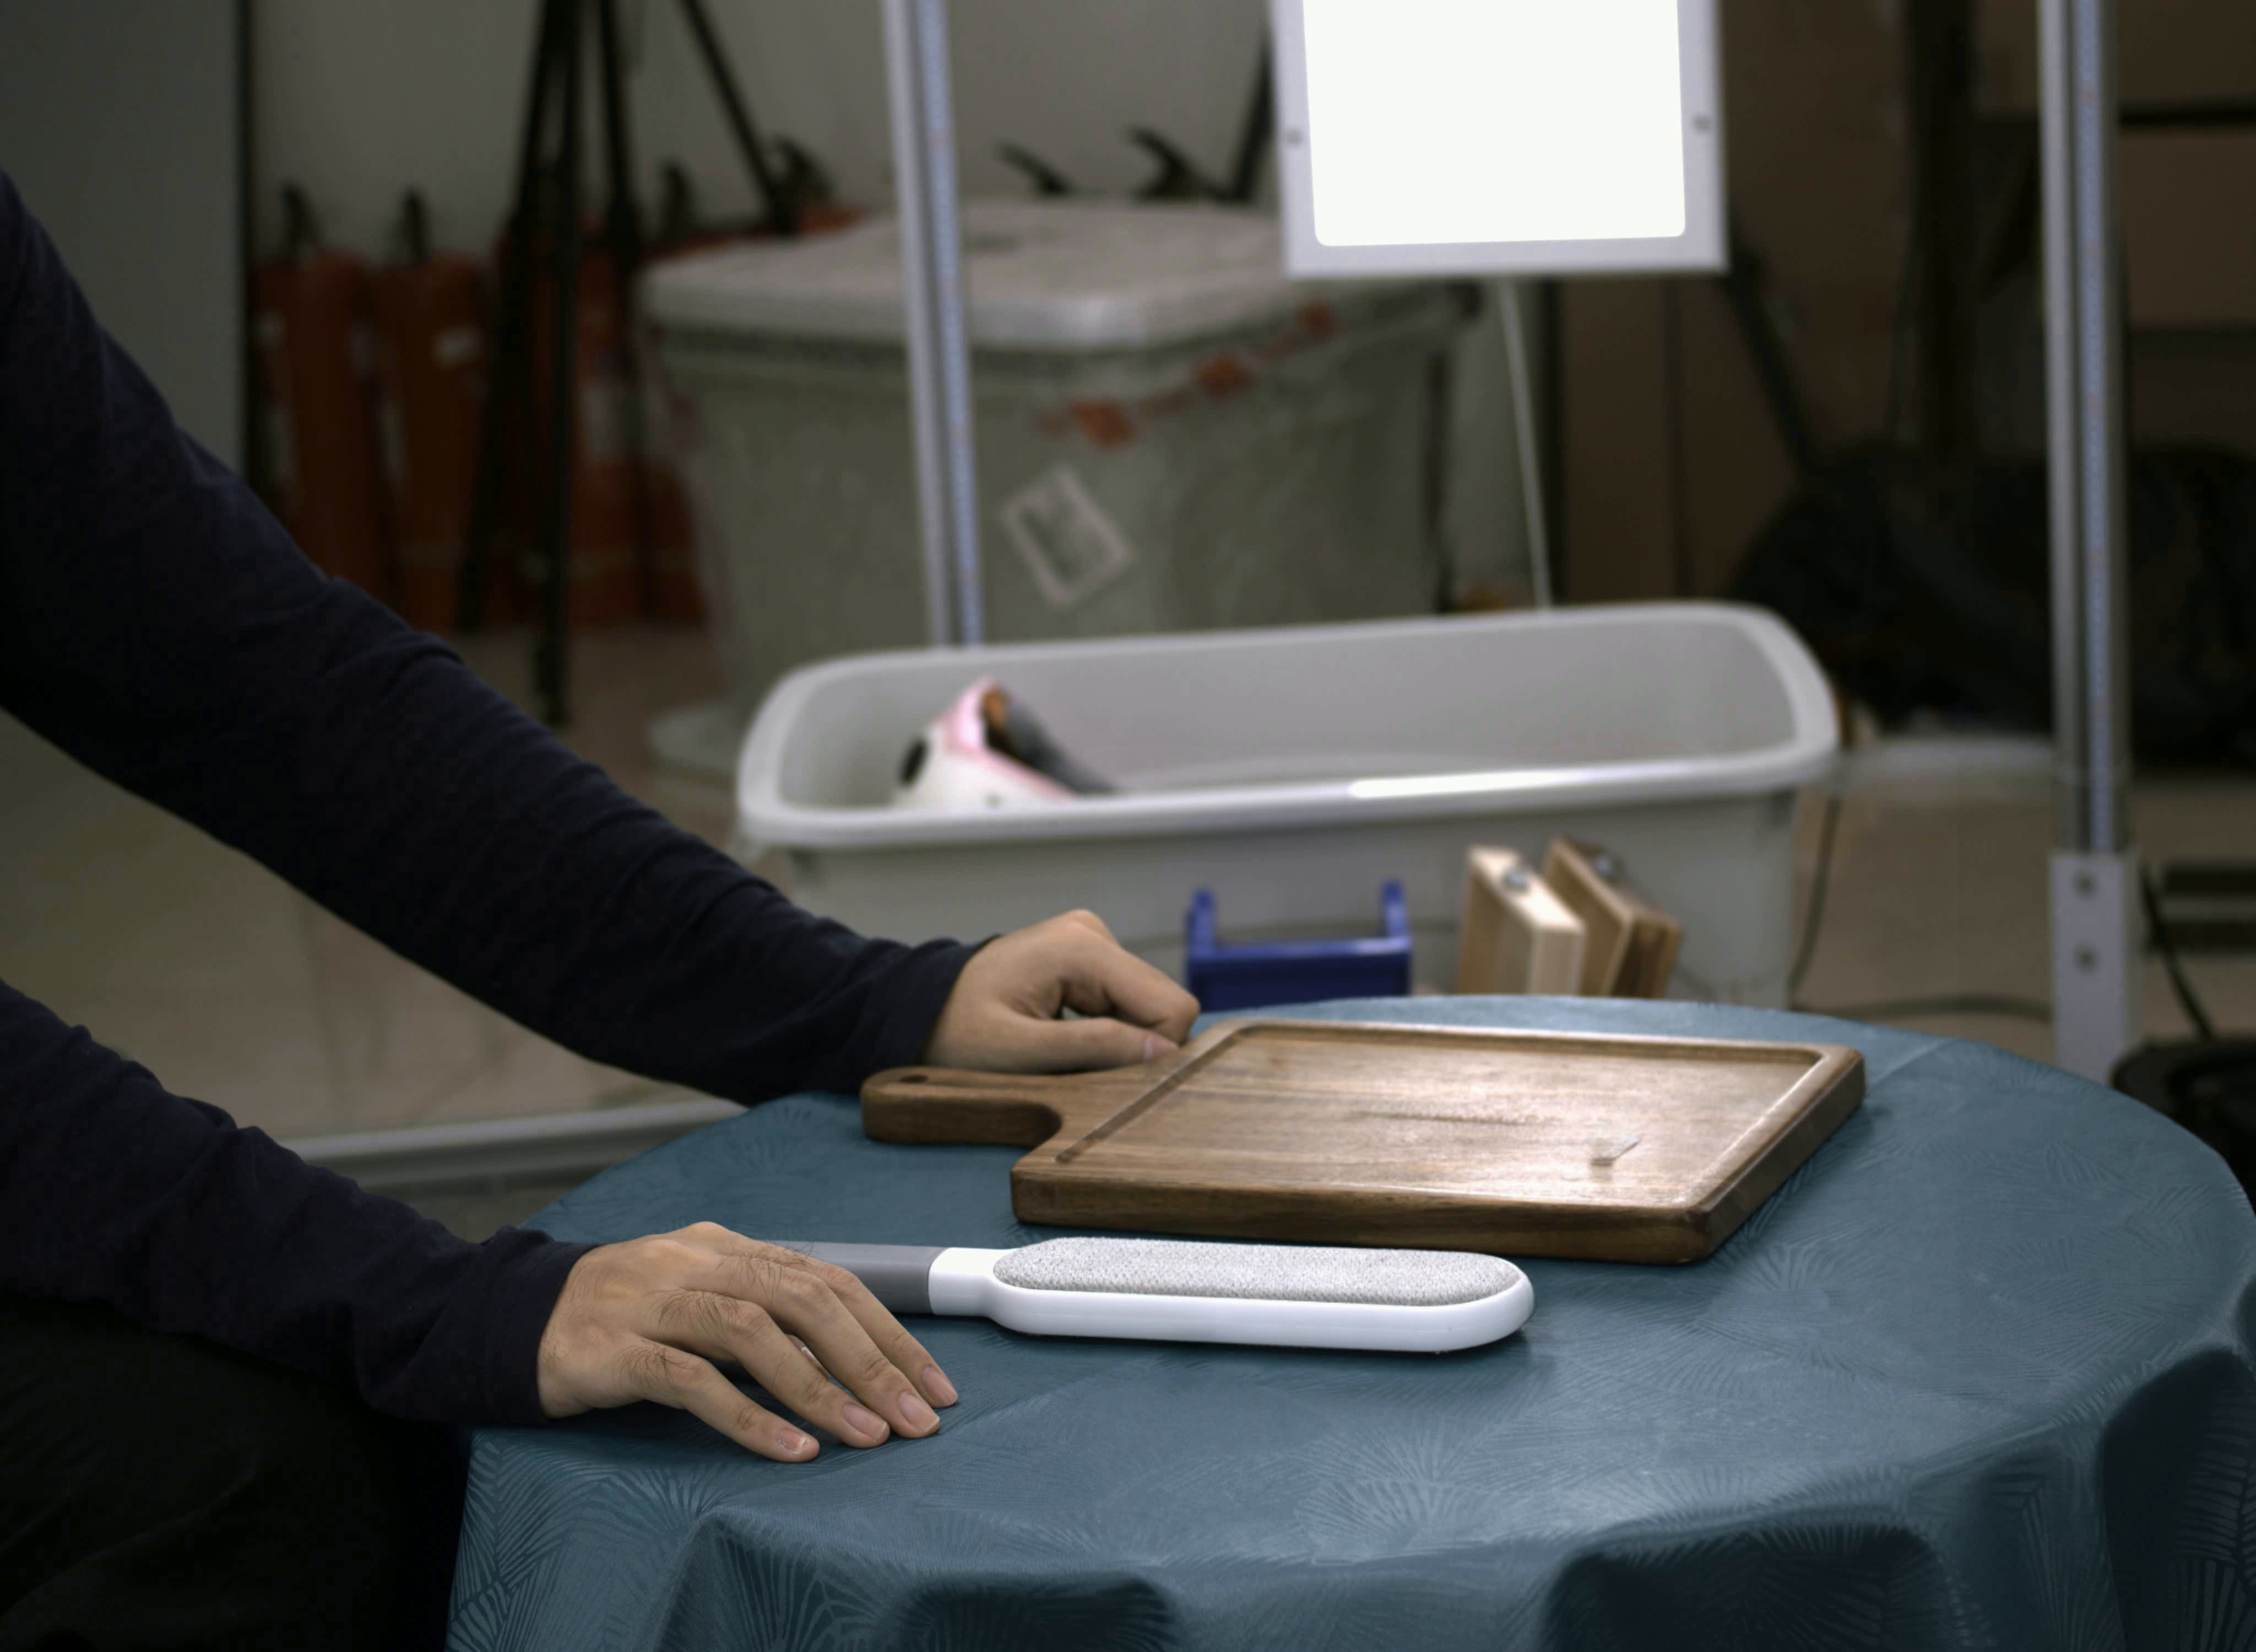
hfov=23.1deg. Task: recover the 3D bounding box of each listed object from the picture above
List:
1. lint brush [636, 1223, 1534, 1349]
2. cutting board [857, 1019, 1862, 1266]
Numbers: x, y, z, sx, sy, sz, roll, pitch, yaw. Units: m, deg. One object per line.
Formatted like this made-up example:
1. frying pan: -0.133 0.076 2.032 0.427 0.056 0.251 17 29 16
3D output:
1. lint brush: -0.019 0.145 1.777 0.313 0.021 0.059 1 20 24
2. cutting board: 0.065 0.105 1.926 0.358 0.023 0.197 1 15 26
